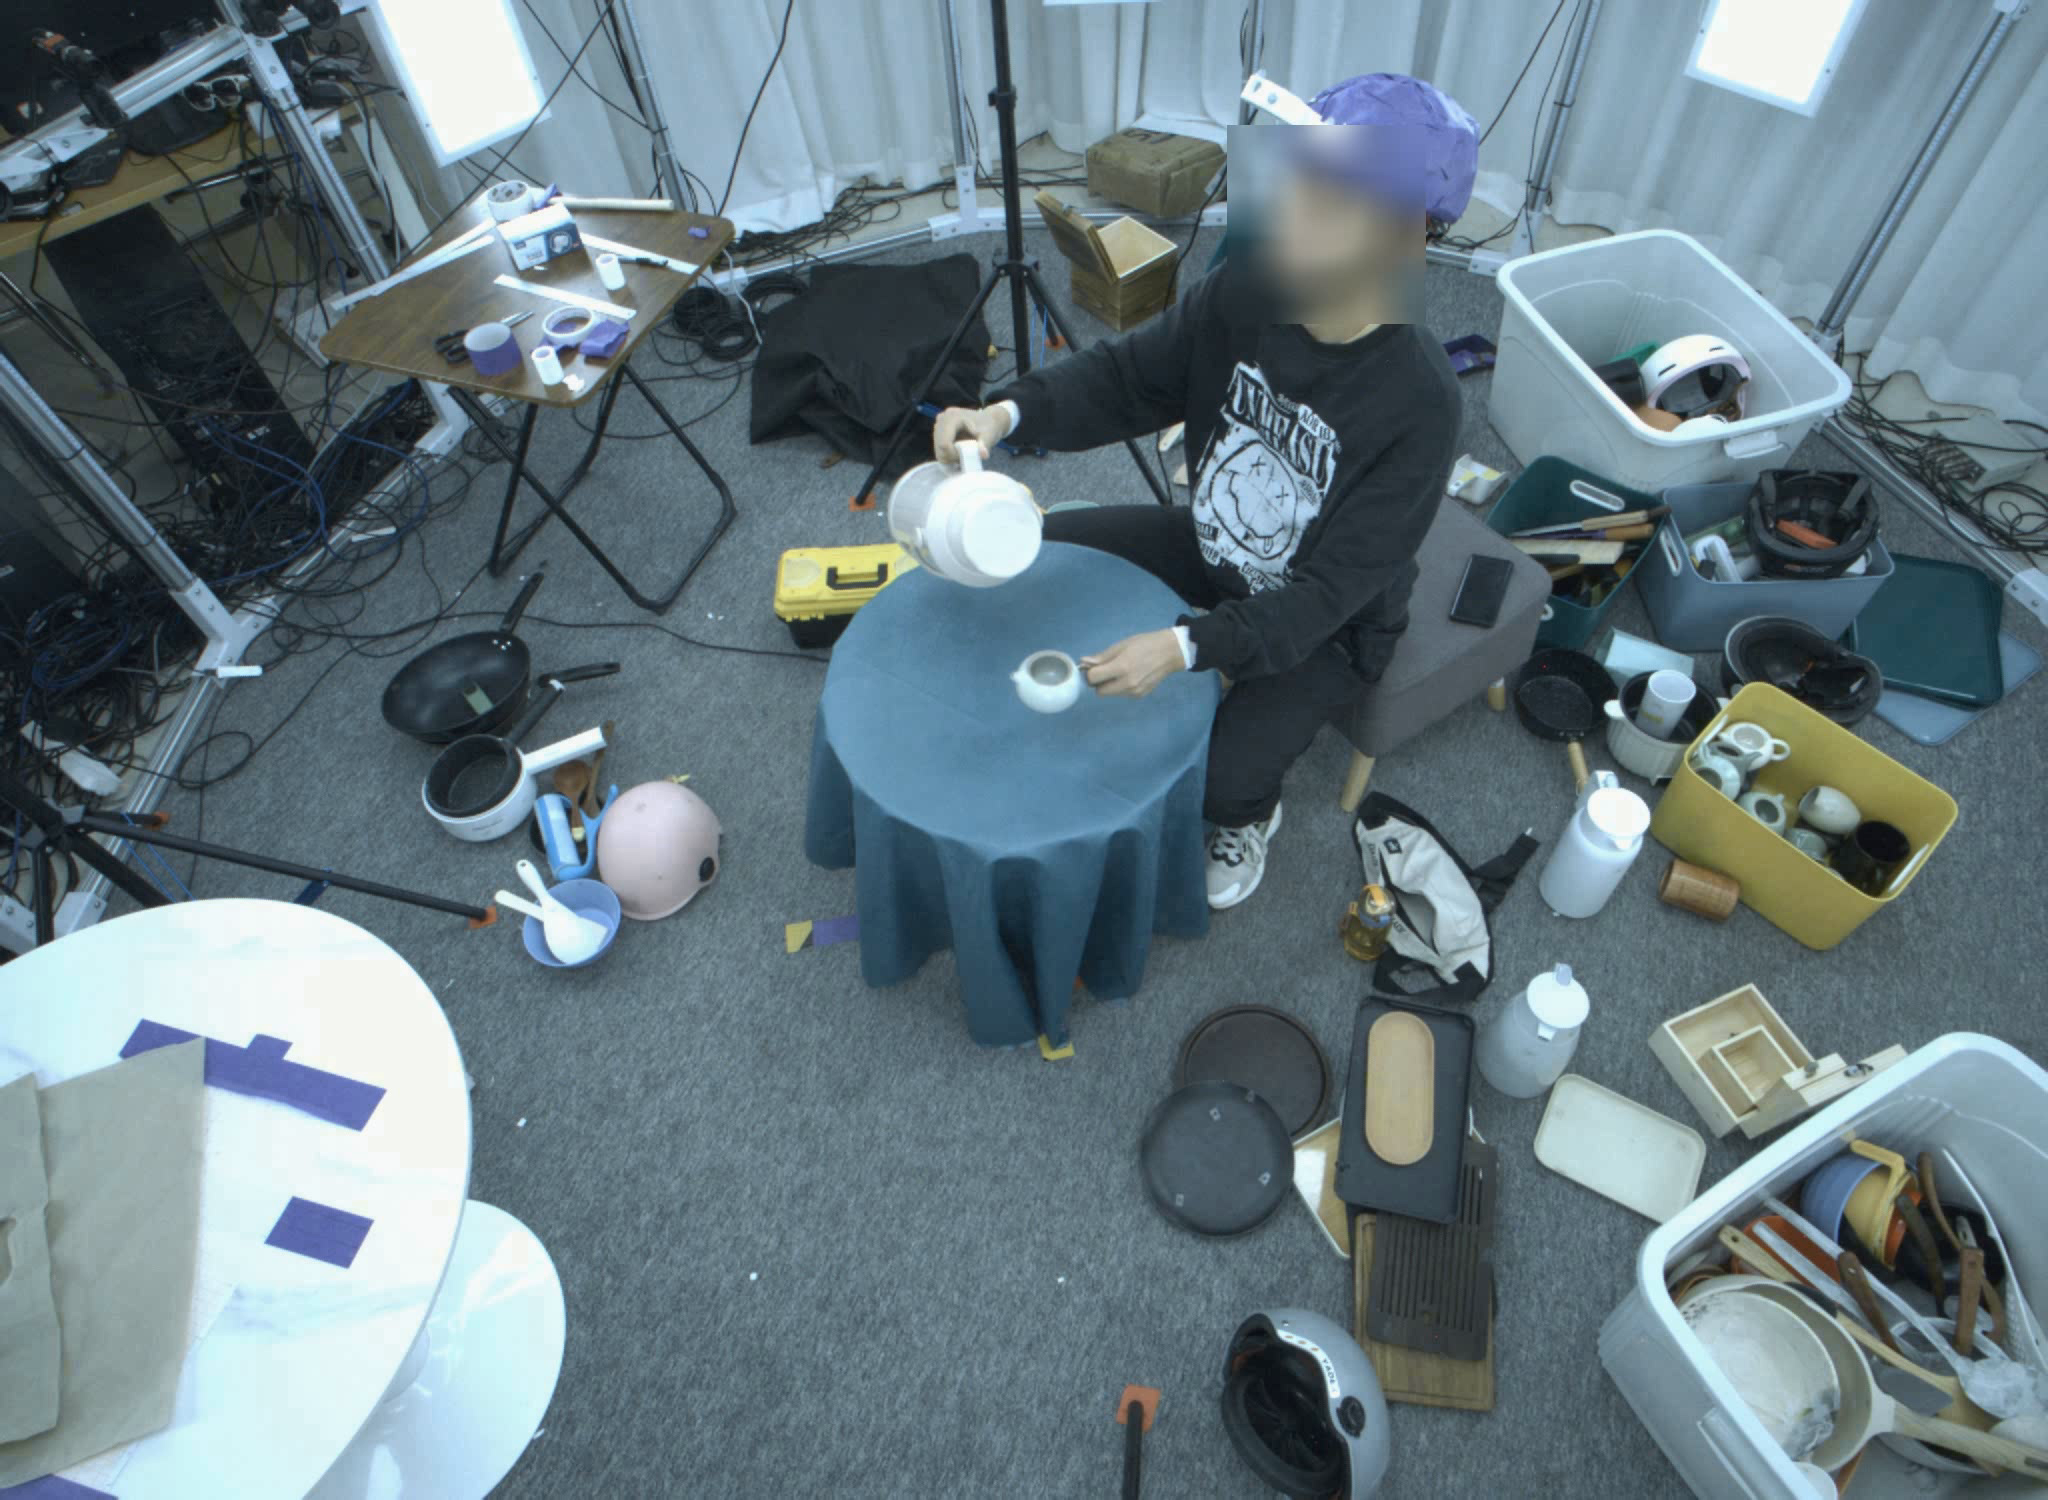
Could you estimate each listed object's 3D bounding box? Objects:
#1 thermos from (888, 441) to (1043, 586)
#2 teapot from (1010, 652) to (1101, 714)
[{"bbox_3d":[-0.084,-0.334,1.718,0.177,0.208,0.399,-12,18,-12],"label":"thermos"},{"bbox_3d":[0.043,-0.093,1.671,0.129,0.060,0.090,-11,53,-10],"label":"teapot"}]
